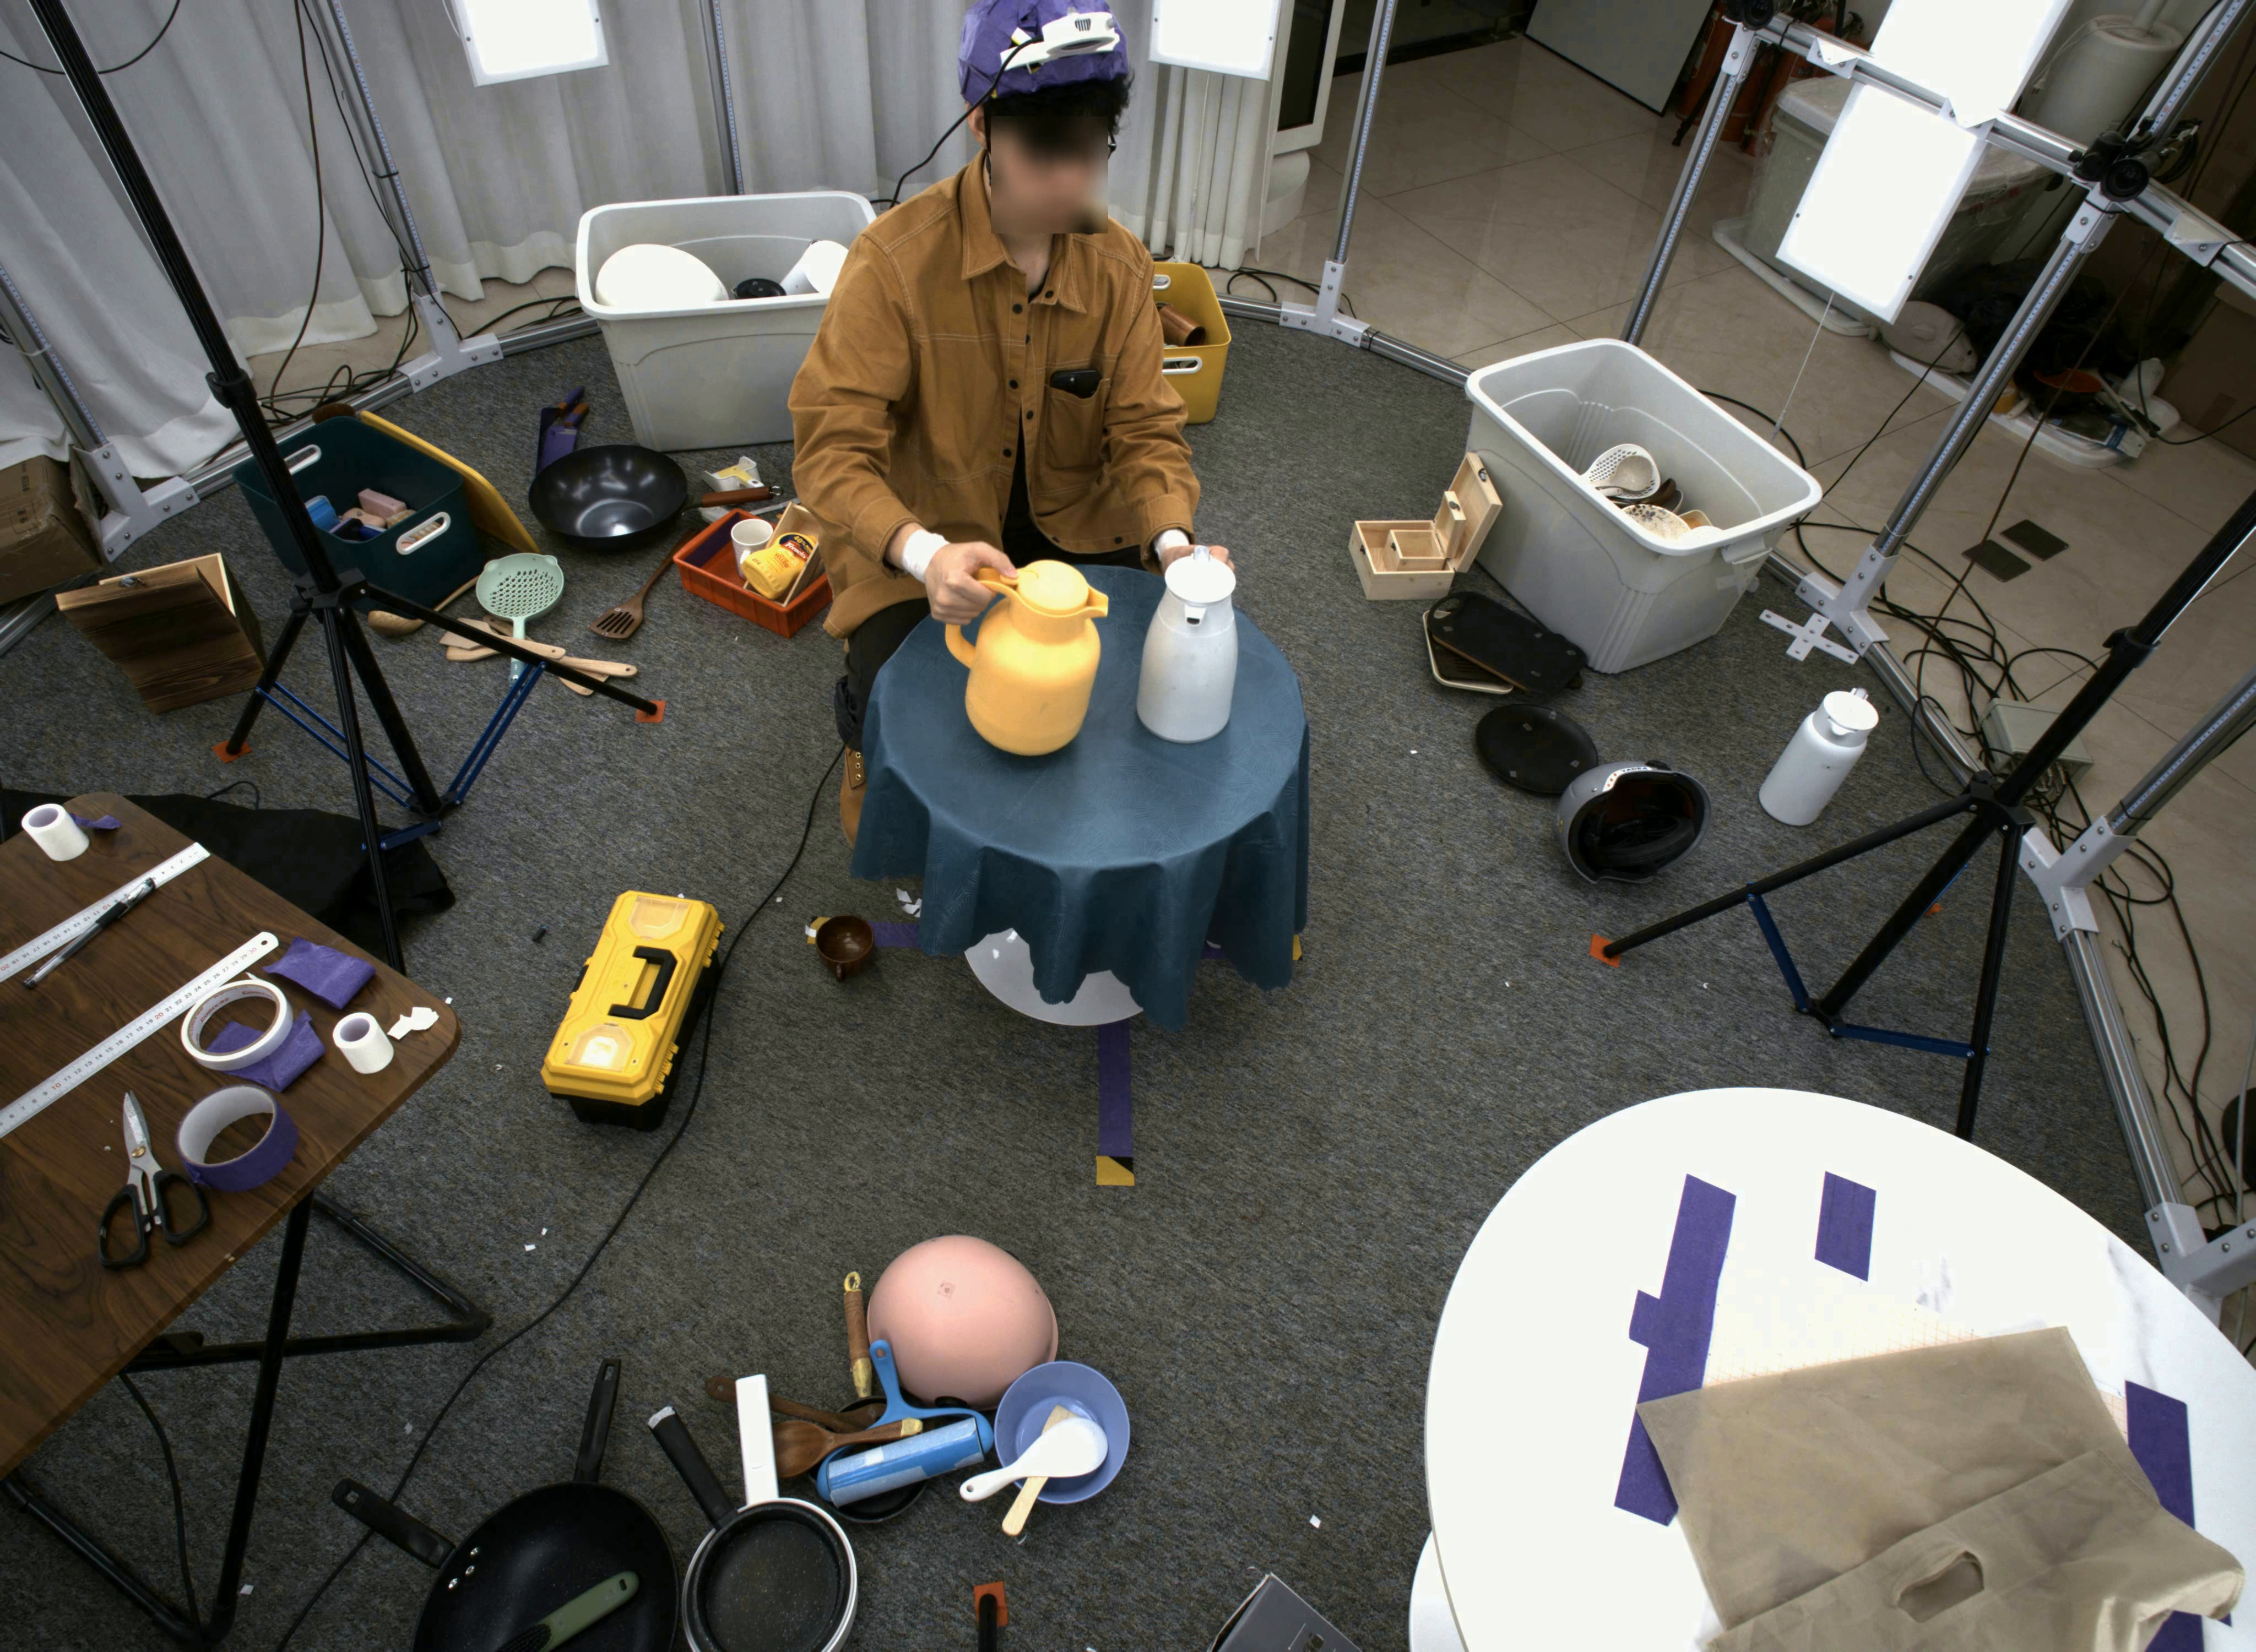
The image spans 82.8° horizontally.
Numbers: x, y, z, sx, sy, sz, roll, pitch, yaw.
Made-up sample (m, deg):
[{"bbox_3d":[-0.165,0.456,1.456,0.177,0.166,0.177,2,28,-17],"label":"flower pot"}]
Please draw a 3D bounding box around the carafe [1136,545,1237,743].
[{"bbox_3d":[0.086,-0.257,1.738,0.132,0.242,0.172,8,49,3],"label":"carafe"}]

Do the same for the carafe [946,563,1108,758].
[{"bbox_3d":[-0.135,-0.225,1.664,0.202,0.254,0.167,14,48,-3],"label":"carafe"}]
